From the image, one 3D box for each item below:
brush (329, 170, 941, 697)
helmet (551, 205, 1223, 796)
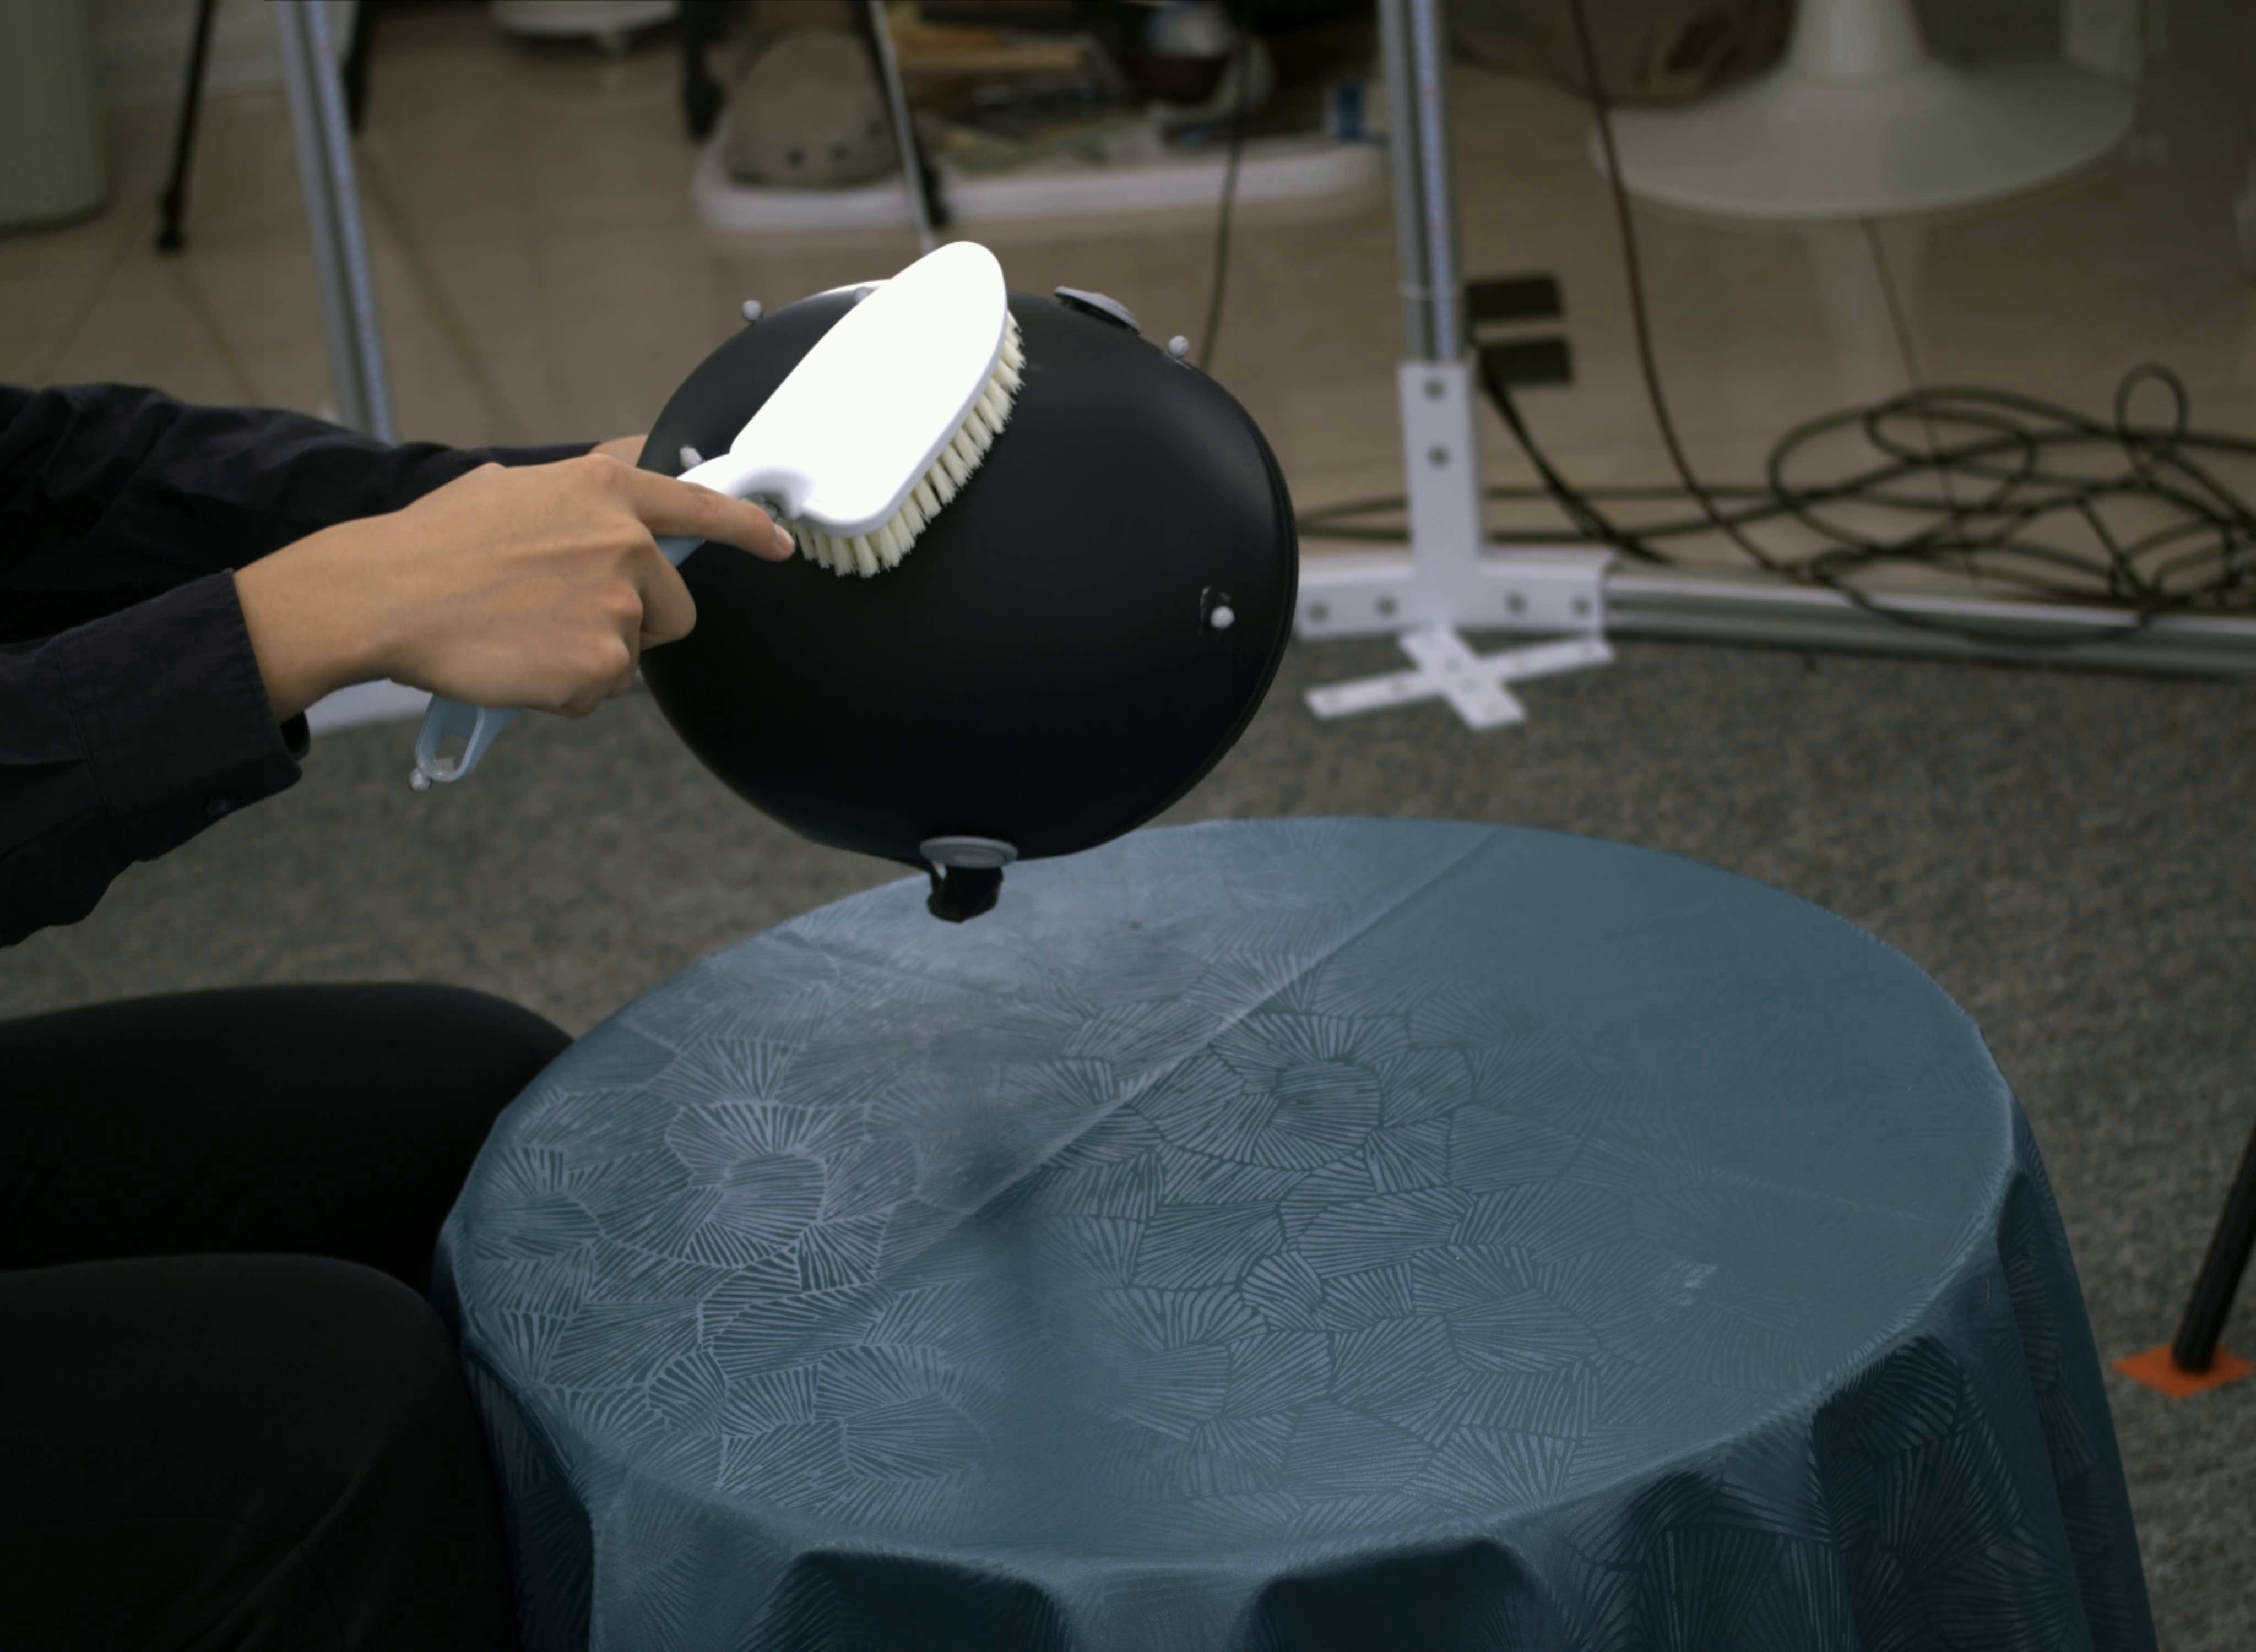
[{"bbox_3d":[-0.175,-0.124,2.018,0.083,0.085,0.321,-7,31,49],"label":"brush"},{"bbox_3d":[-0.114,-0.137,2.173,0.272,0.229,0.168,10,-6,37],"label":"helmet"}]
